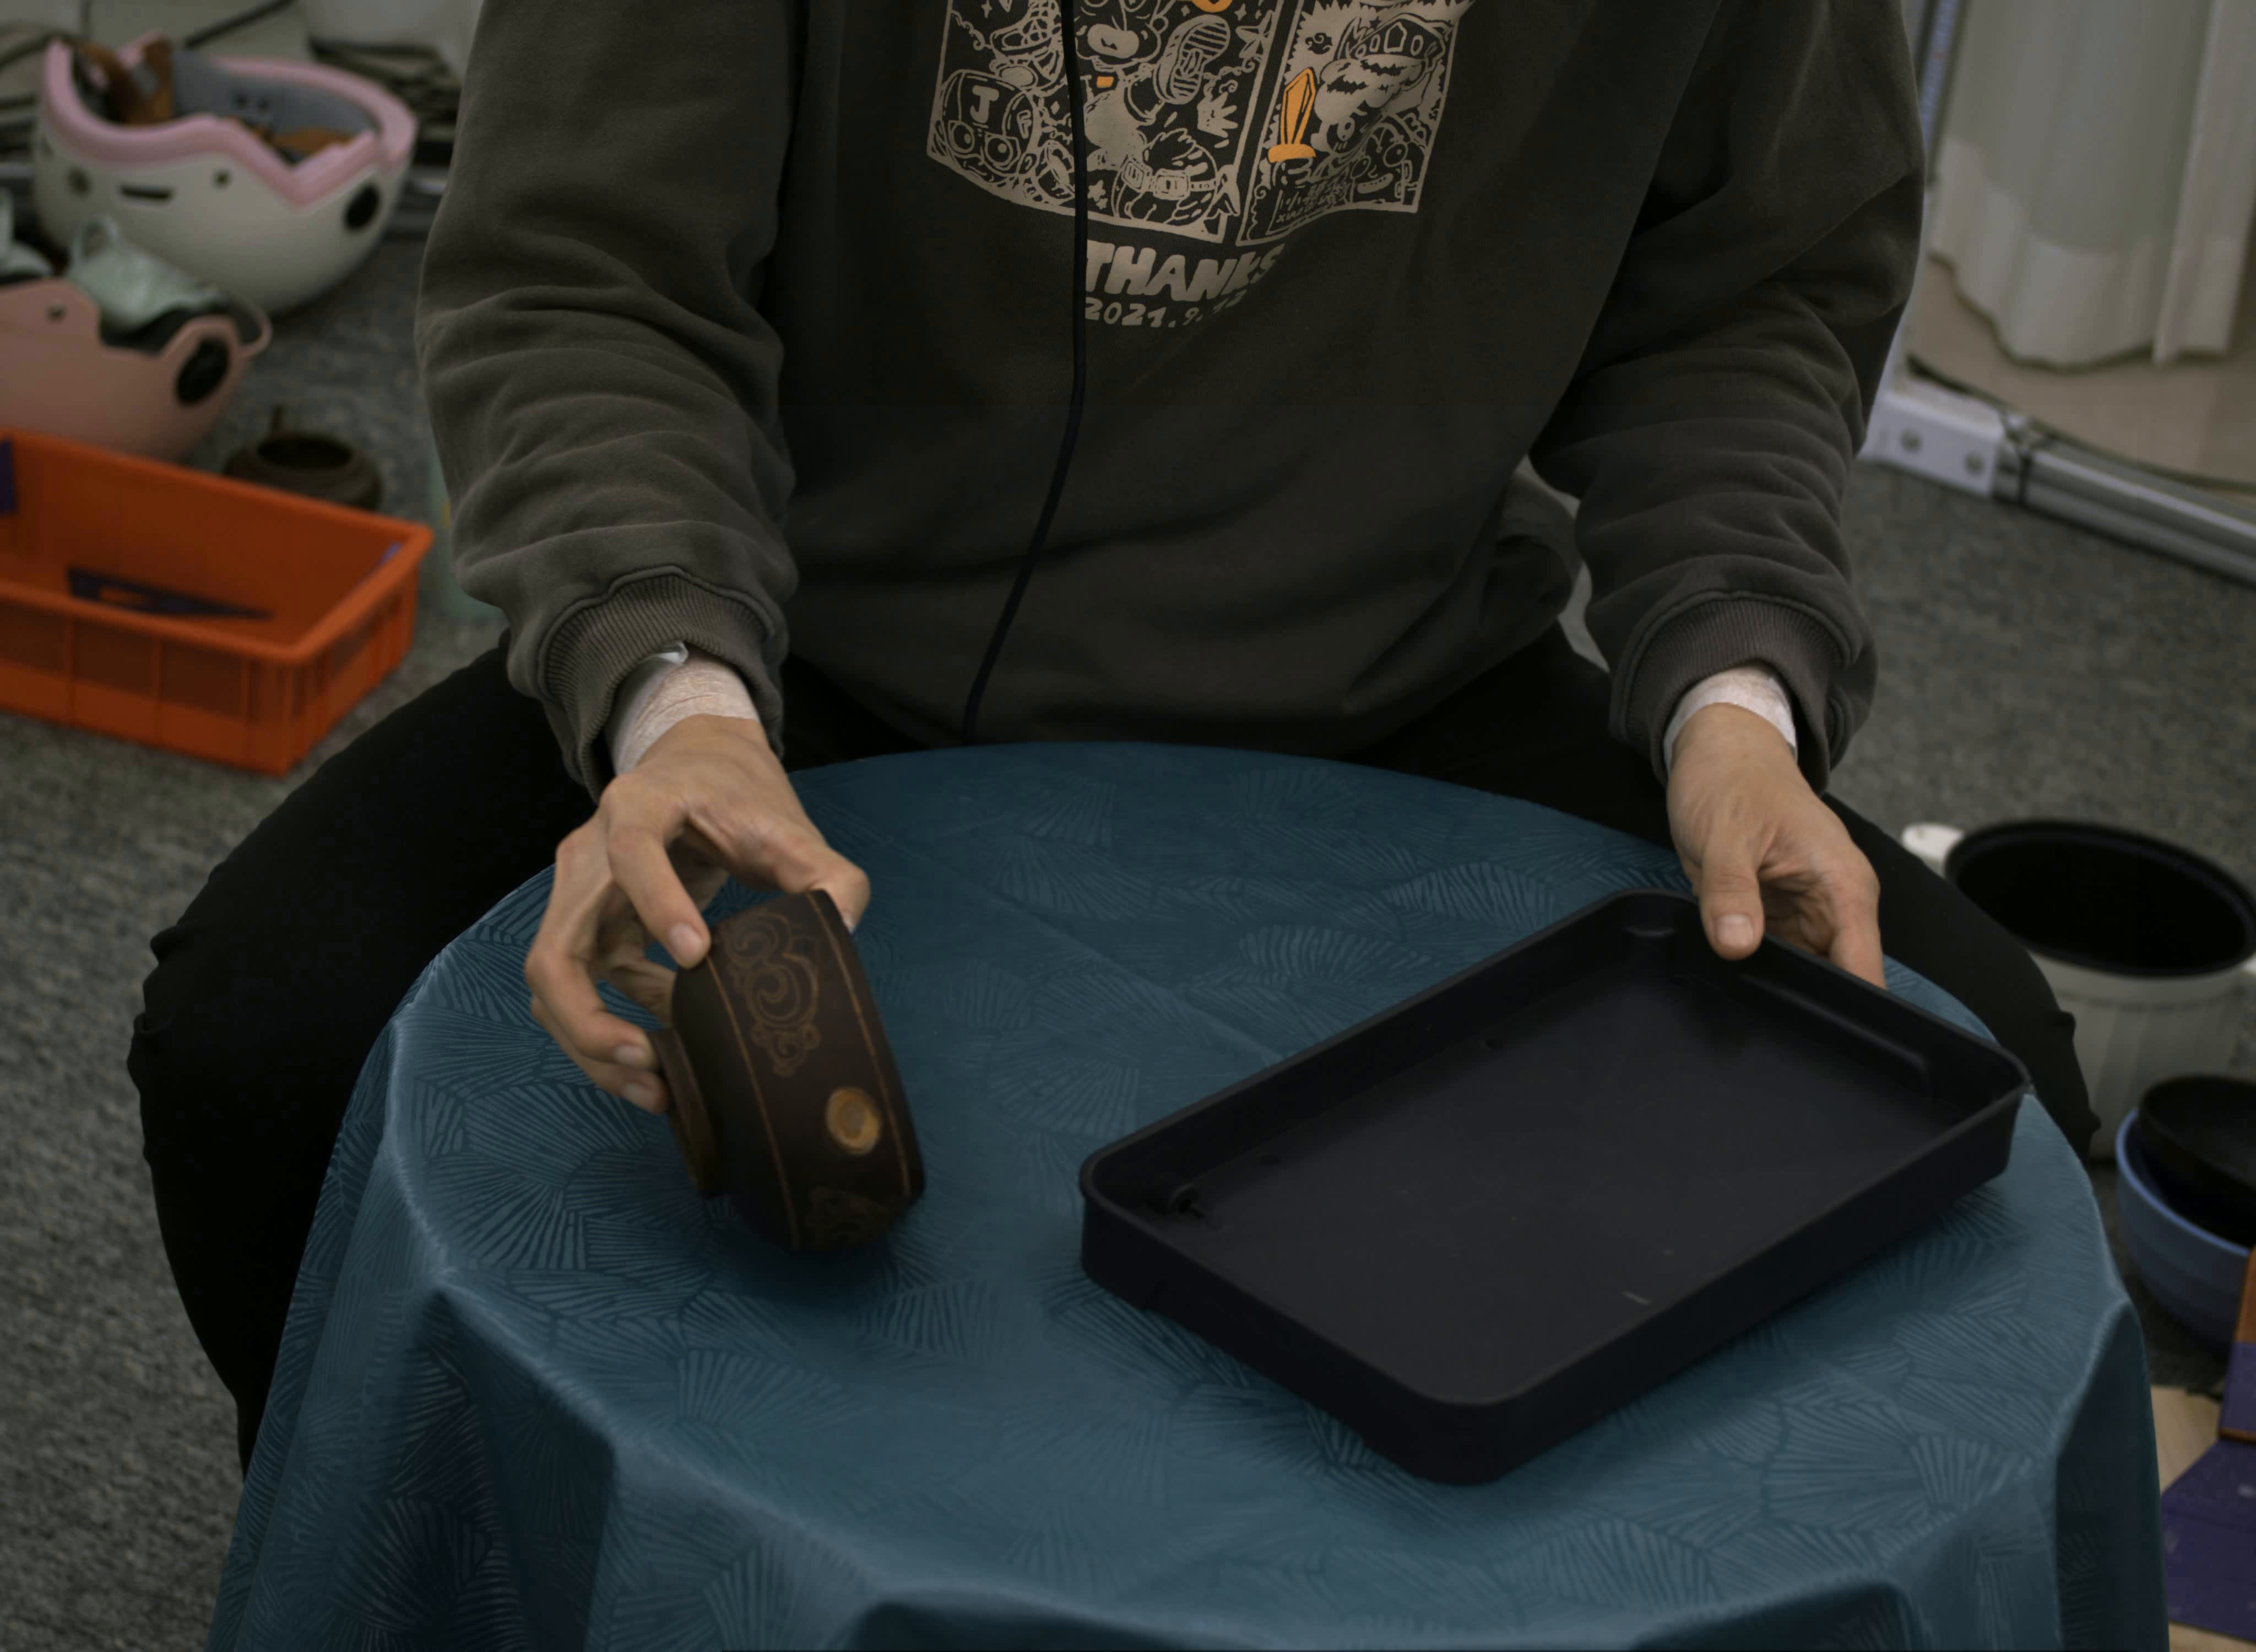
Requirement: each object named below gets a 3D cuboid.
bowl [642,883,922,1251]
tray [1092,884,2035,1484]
[{"bbox_3d":[-0.117,0.083,1.728,0.069,0.117,0.119,-17,31,-11],"label":"bowl"},{"bbox_3d":[0.151,0.114,1.804,0.185,0.037,0.317,25,35,35],"label":"tray"}]
